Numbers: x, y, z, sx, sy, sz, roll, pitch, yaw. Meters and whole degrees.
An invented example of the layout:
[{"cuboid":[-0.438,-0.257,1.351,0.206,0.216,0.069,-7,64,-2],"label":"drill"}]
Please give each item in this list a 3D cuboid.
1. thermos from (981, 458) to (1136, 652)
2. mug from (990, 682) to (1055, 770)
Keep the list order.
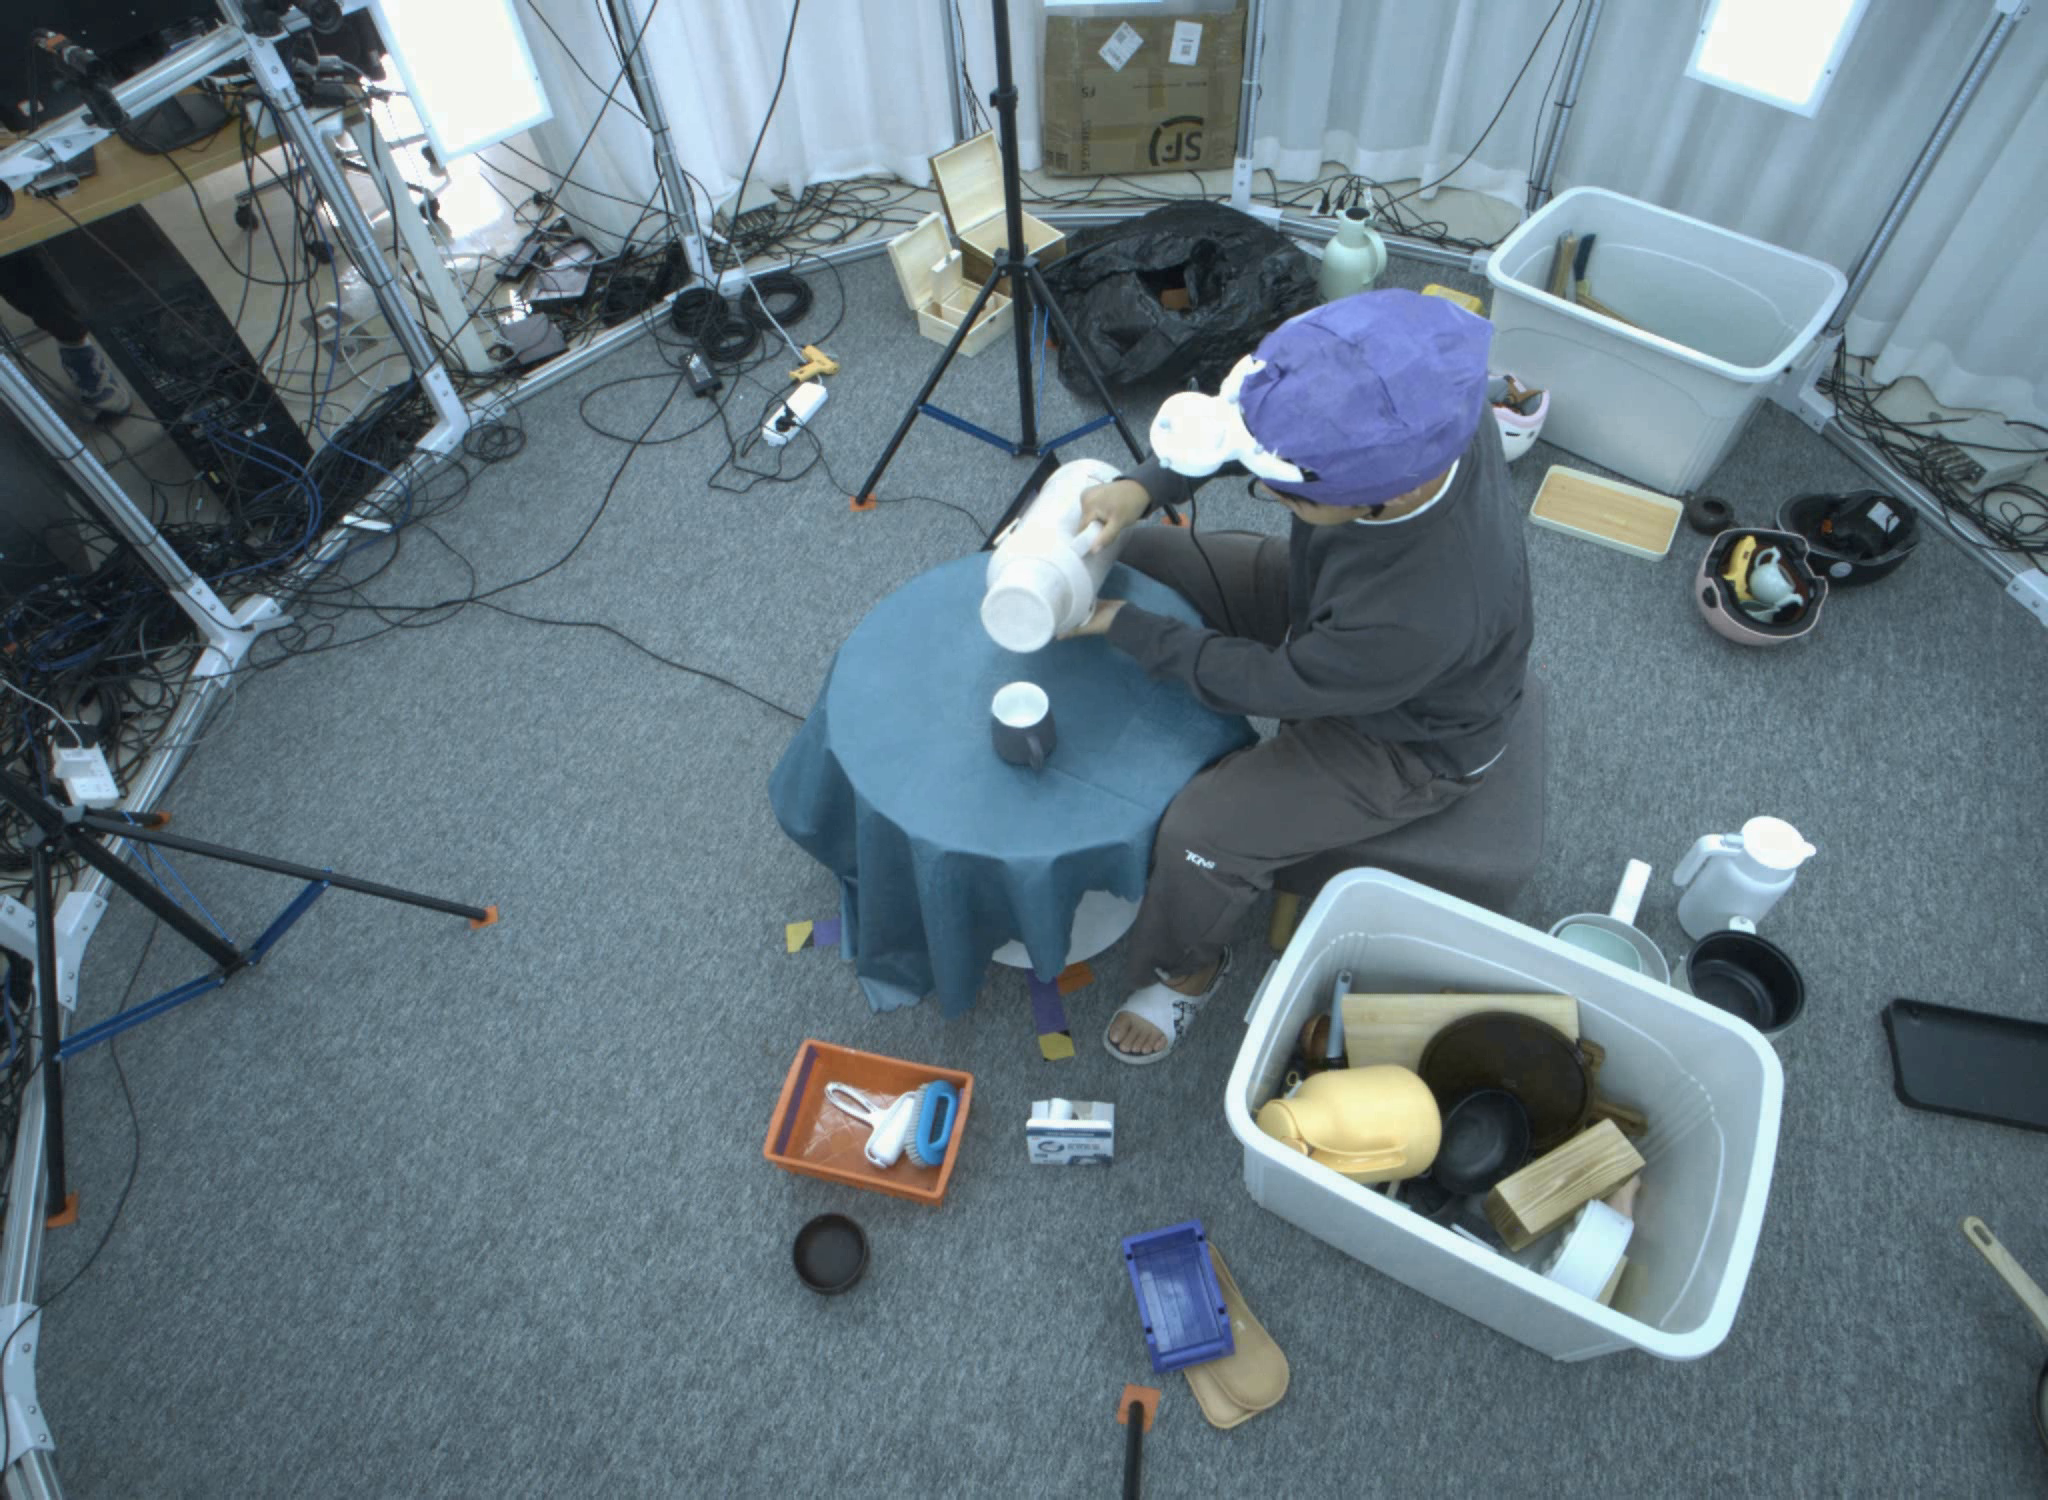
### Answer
[{"cuboid":[0.056,-0.292,1.794,0.177,0.205,0.406,43,36,-12],"label":"thermos"},{"cuboid":[0.001,-0.027,1.751,0.094,0.091,0.121,-16,55,-9],"label":"mug"}]
